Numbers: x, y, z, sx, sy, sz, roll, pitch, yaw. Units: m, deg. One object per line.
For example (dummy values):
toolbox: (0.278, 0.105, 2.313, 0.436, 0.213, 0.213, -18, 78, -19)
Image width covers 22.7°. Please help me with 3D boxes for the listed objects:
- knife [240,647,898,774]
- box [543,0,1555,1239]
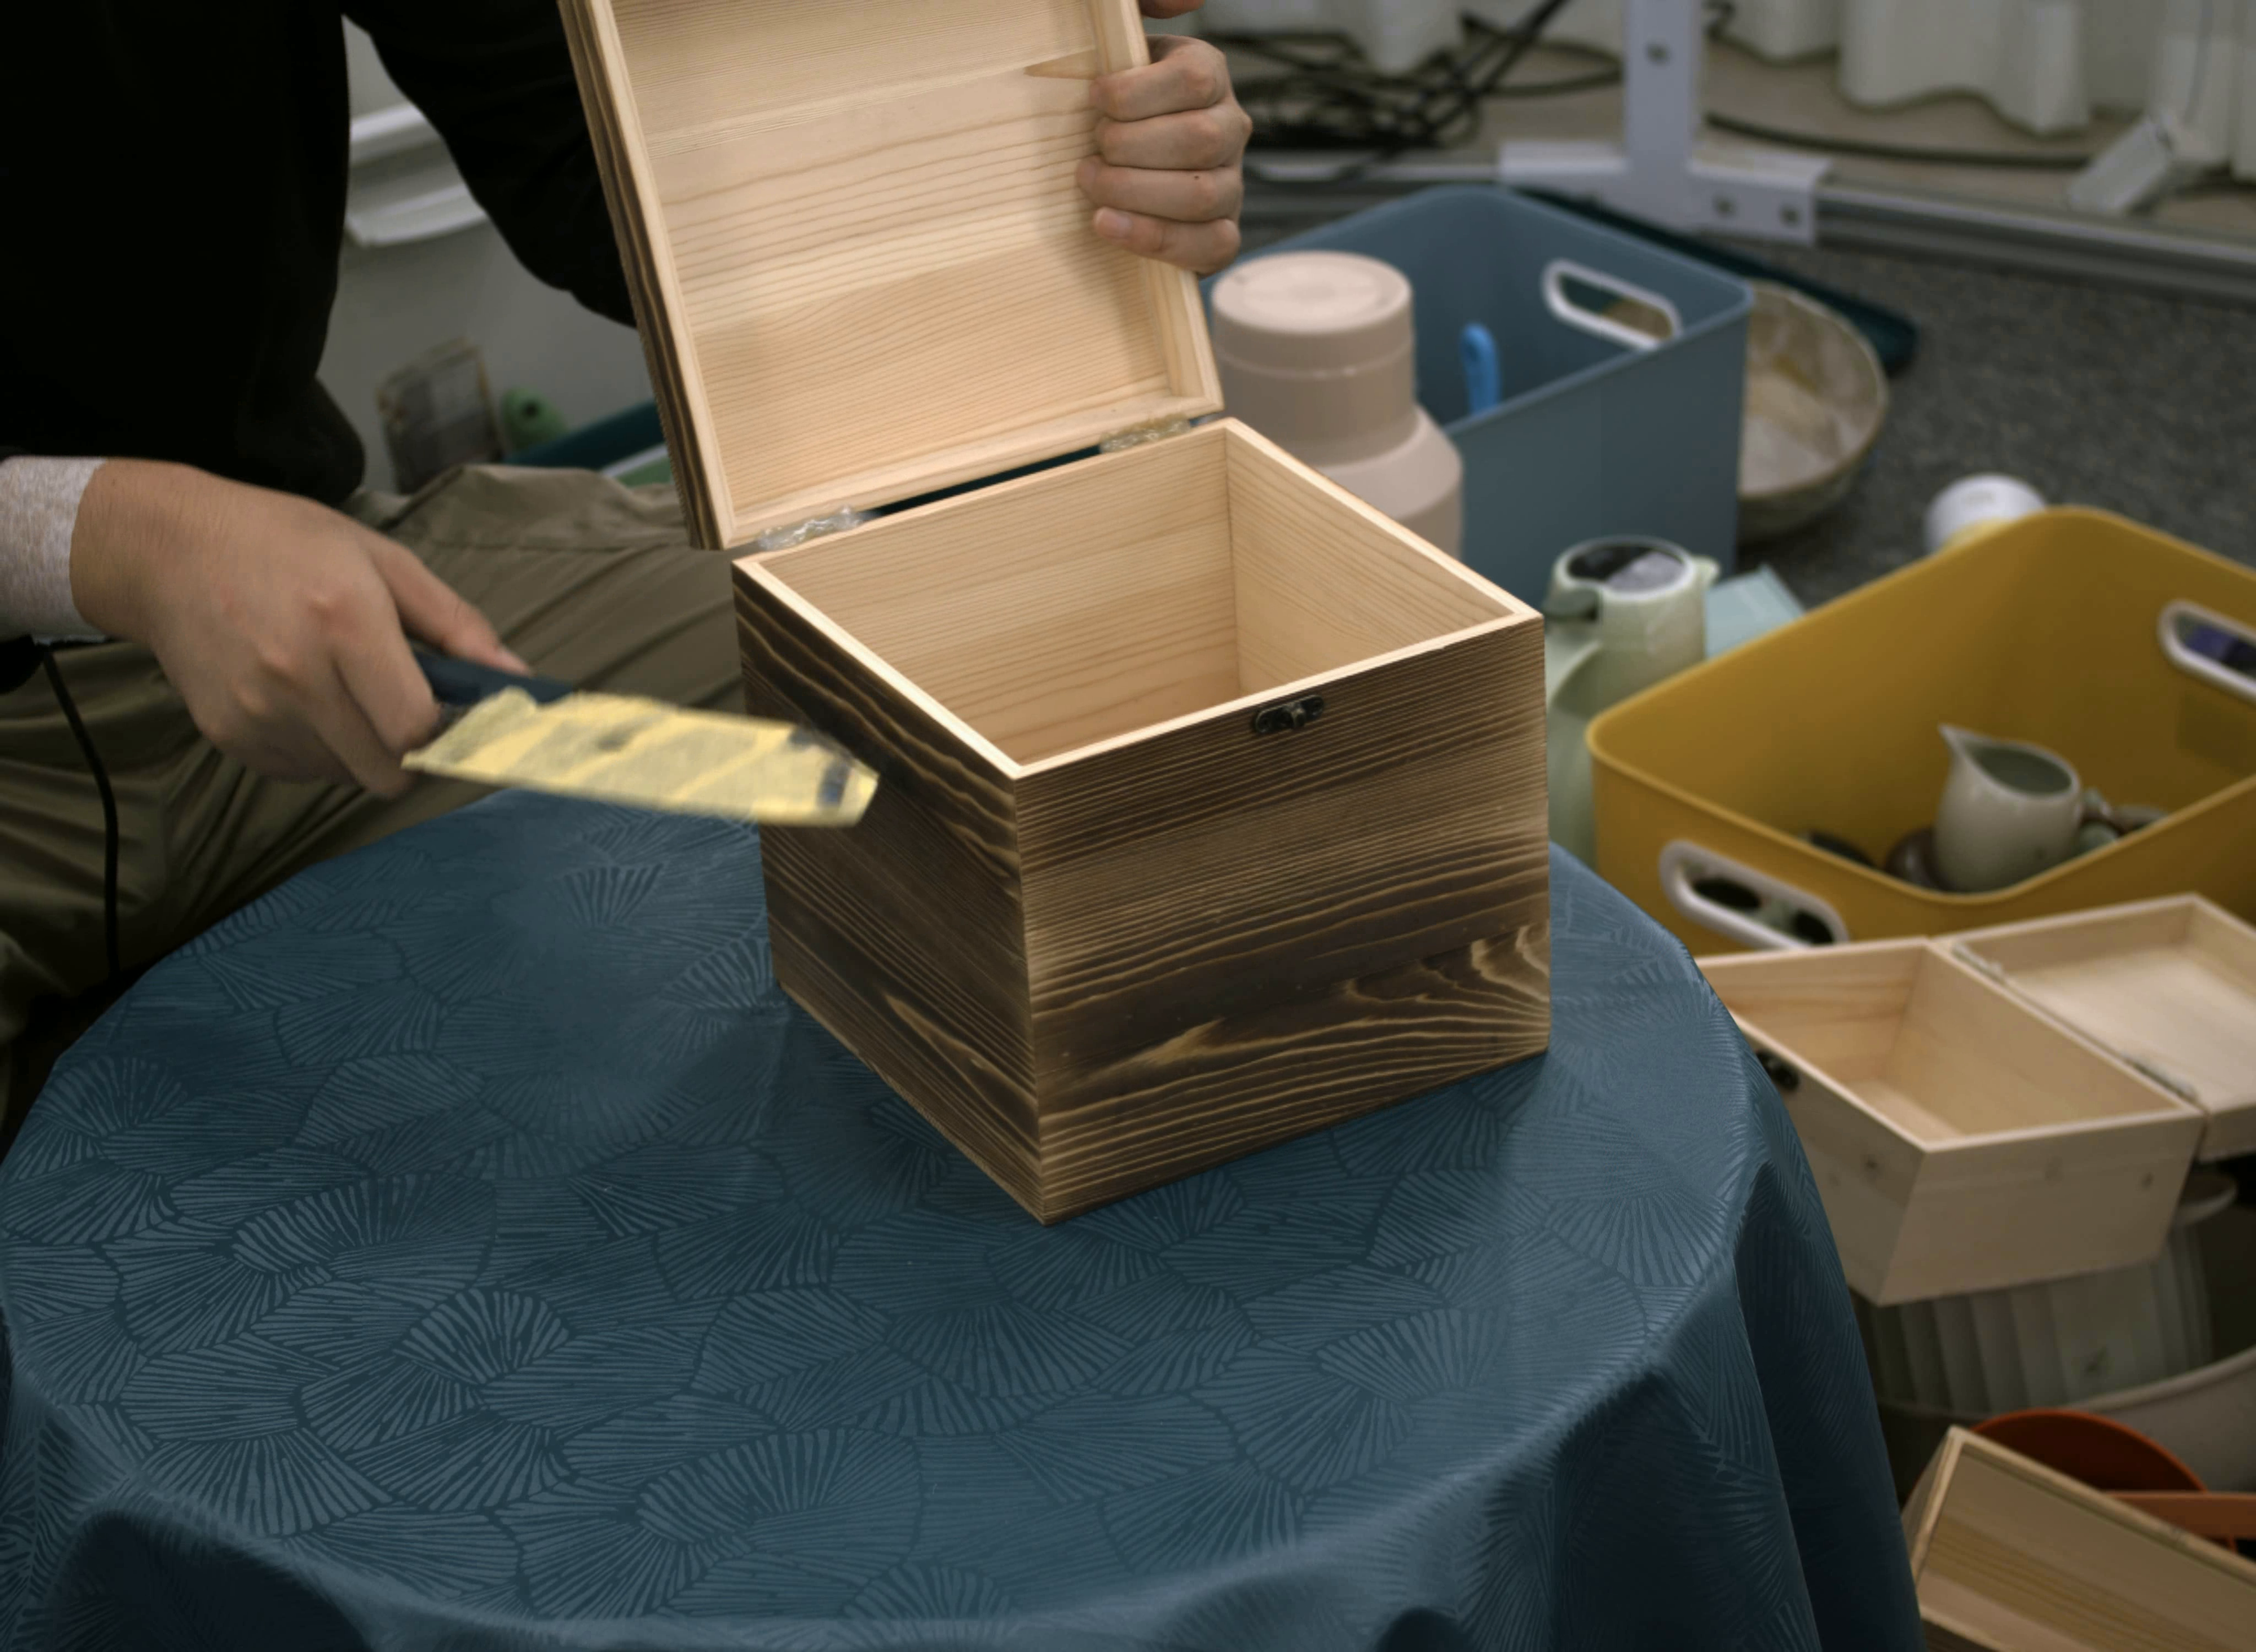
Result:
knife: (-0.189, -0.034, 1.813, 0.287, 0.027, 0.082, 6, 19, 37)
box: (-0.028, -0.110, 1.925, 0.210, 0.371, 0.323, -18, 29, -25)
